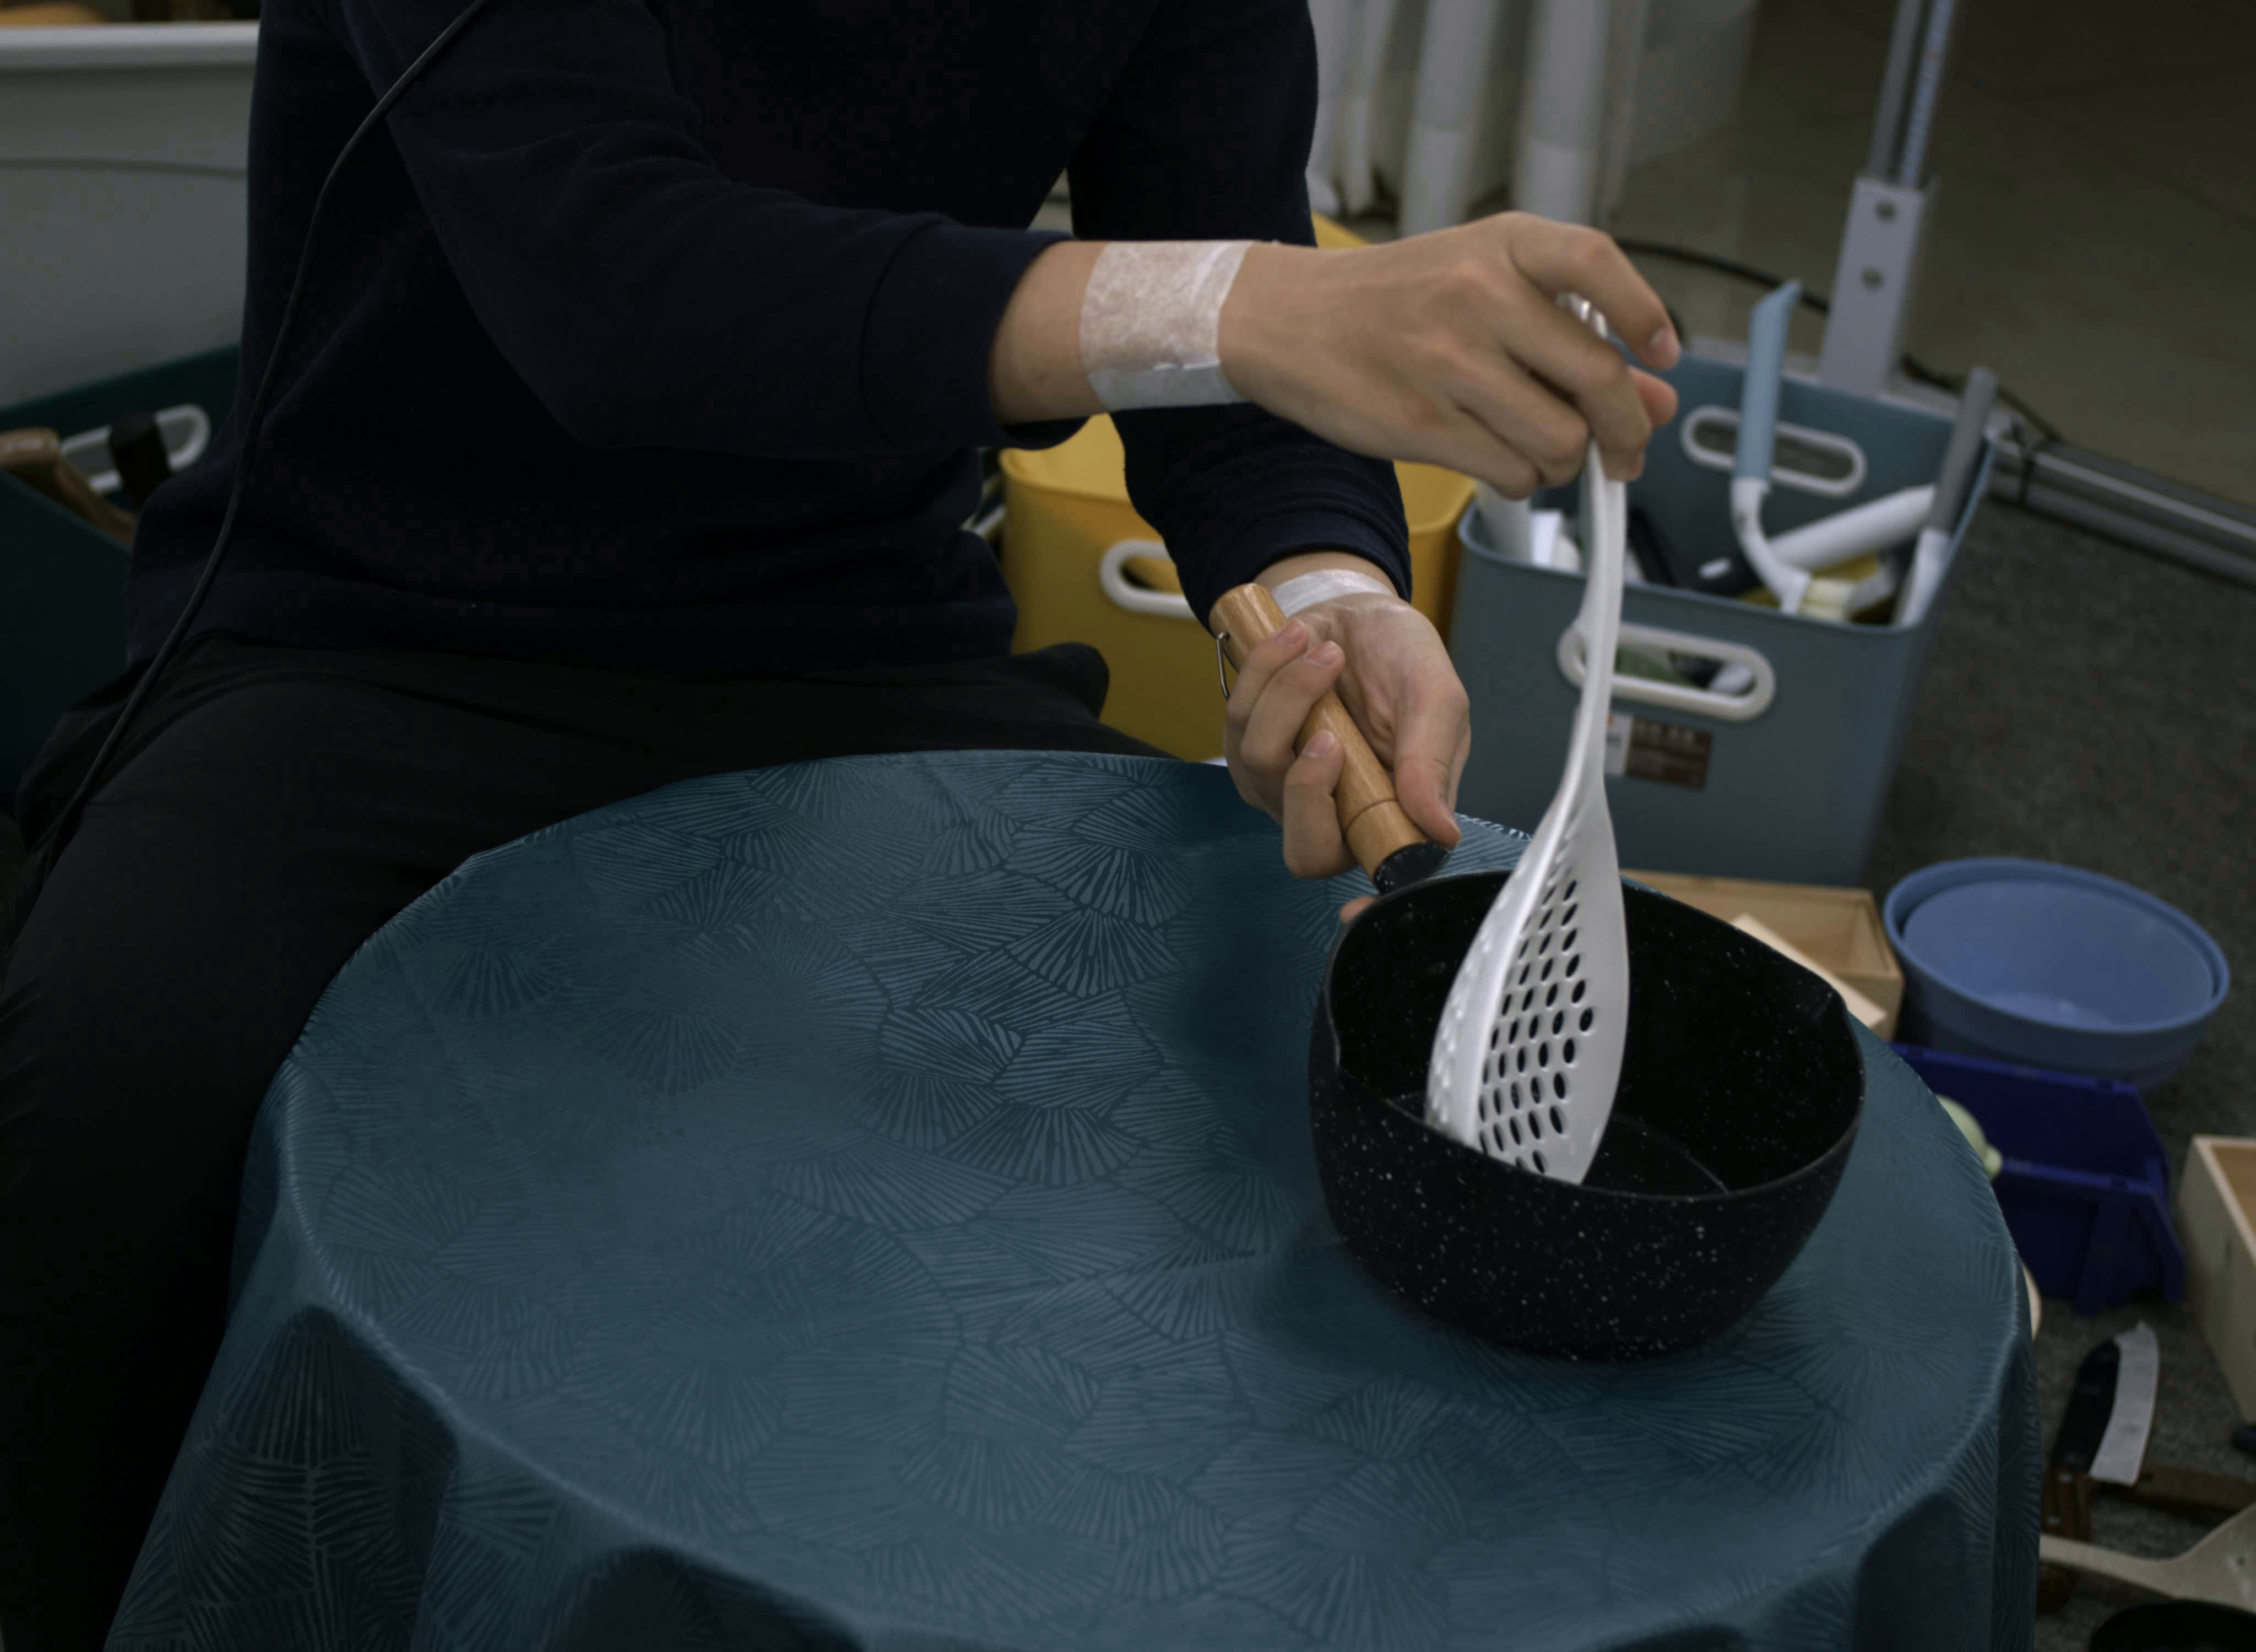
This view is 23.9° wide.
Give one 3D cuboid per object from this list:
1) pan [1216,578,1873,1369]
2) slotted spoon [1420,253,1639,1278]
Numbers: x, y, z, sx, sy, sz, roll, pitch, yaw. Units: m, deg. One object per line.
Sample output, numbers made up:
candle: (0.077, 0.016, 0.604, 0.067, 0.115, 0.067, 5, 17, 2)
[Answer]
pan: (0.111, 0.048, 1.821, 0.206, 0.108, 0.346, -10, 39, -29)
slotted spoon: (0.135, -0.016, 1.703, 0.050, 0.347, 0.136, 19, 29, 22)
